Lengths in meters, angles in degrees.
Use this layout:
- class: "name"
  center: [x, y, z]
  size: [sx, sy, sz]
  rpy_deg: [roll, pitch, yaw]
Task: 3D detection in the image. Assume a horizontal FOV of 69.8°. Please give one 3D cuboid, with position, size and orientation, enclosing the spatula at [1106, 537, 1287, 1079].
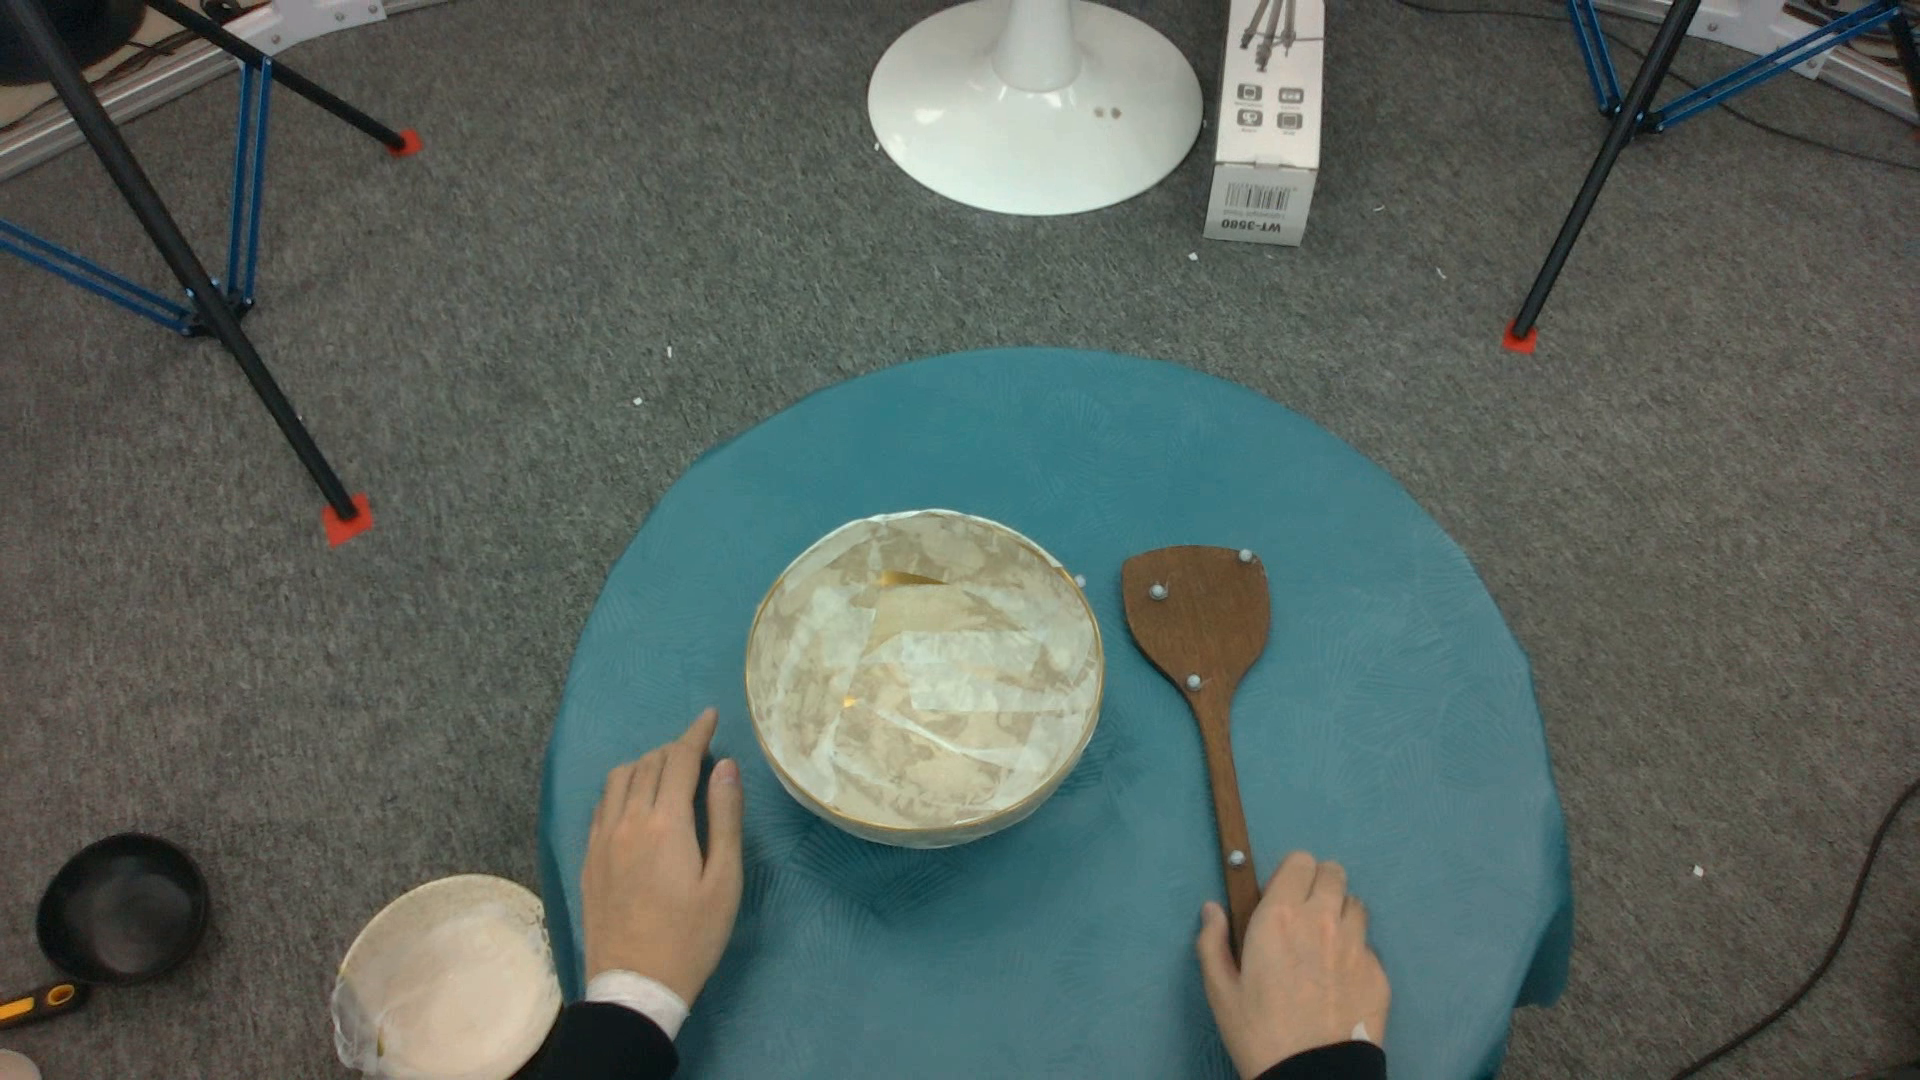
- class: "spatula"
  center: [0.148, 0.159, 0.789]
  size: [0.096, 0.016, 0.387]
  rpy_deg: [-1, 56, -2]

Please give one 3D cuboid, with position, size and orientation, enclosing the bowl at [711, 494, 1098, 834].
- class: "bowl"
  center: [-0.031, 0.084, 0.789]
  size: [0.215, 0.094, 0.215]
  rpy_deg: [2, 57, -2]
